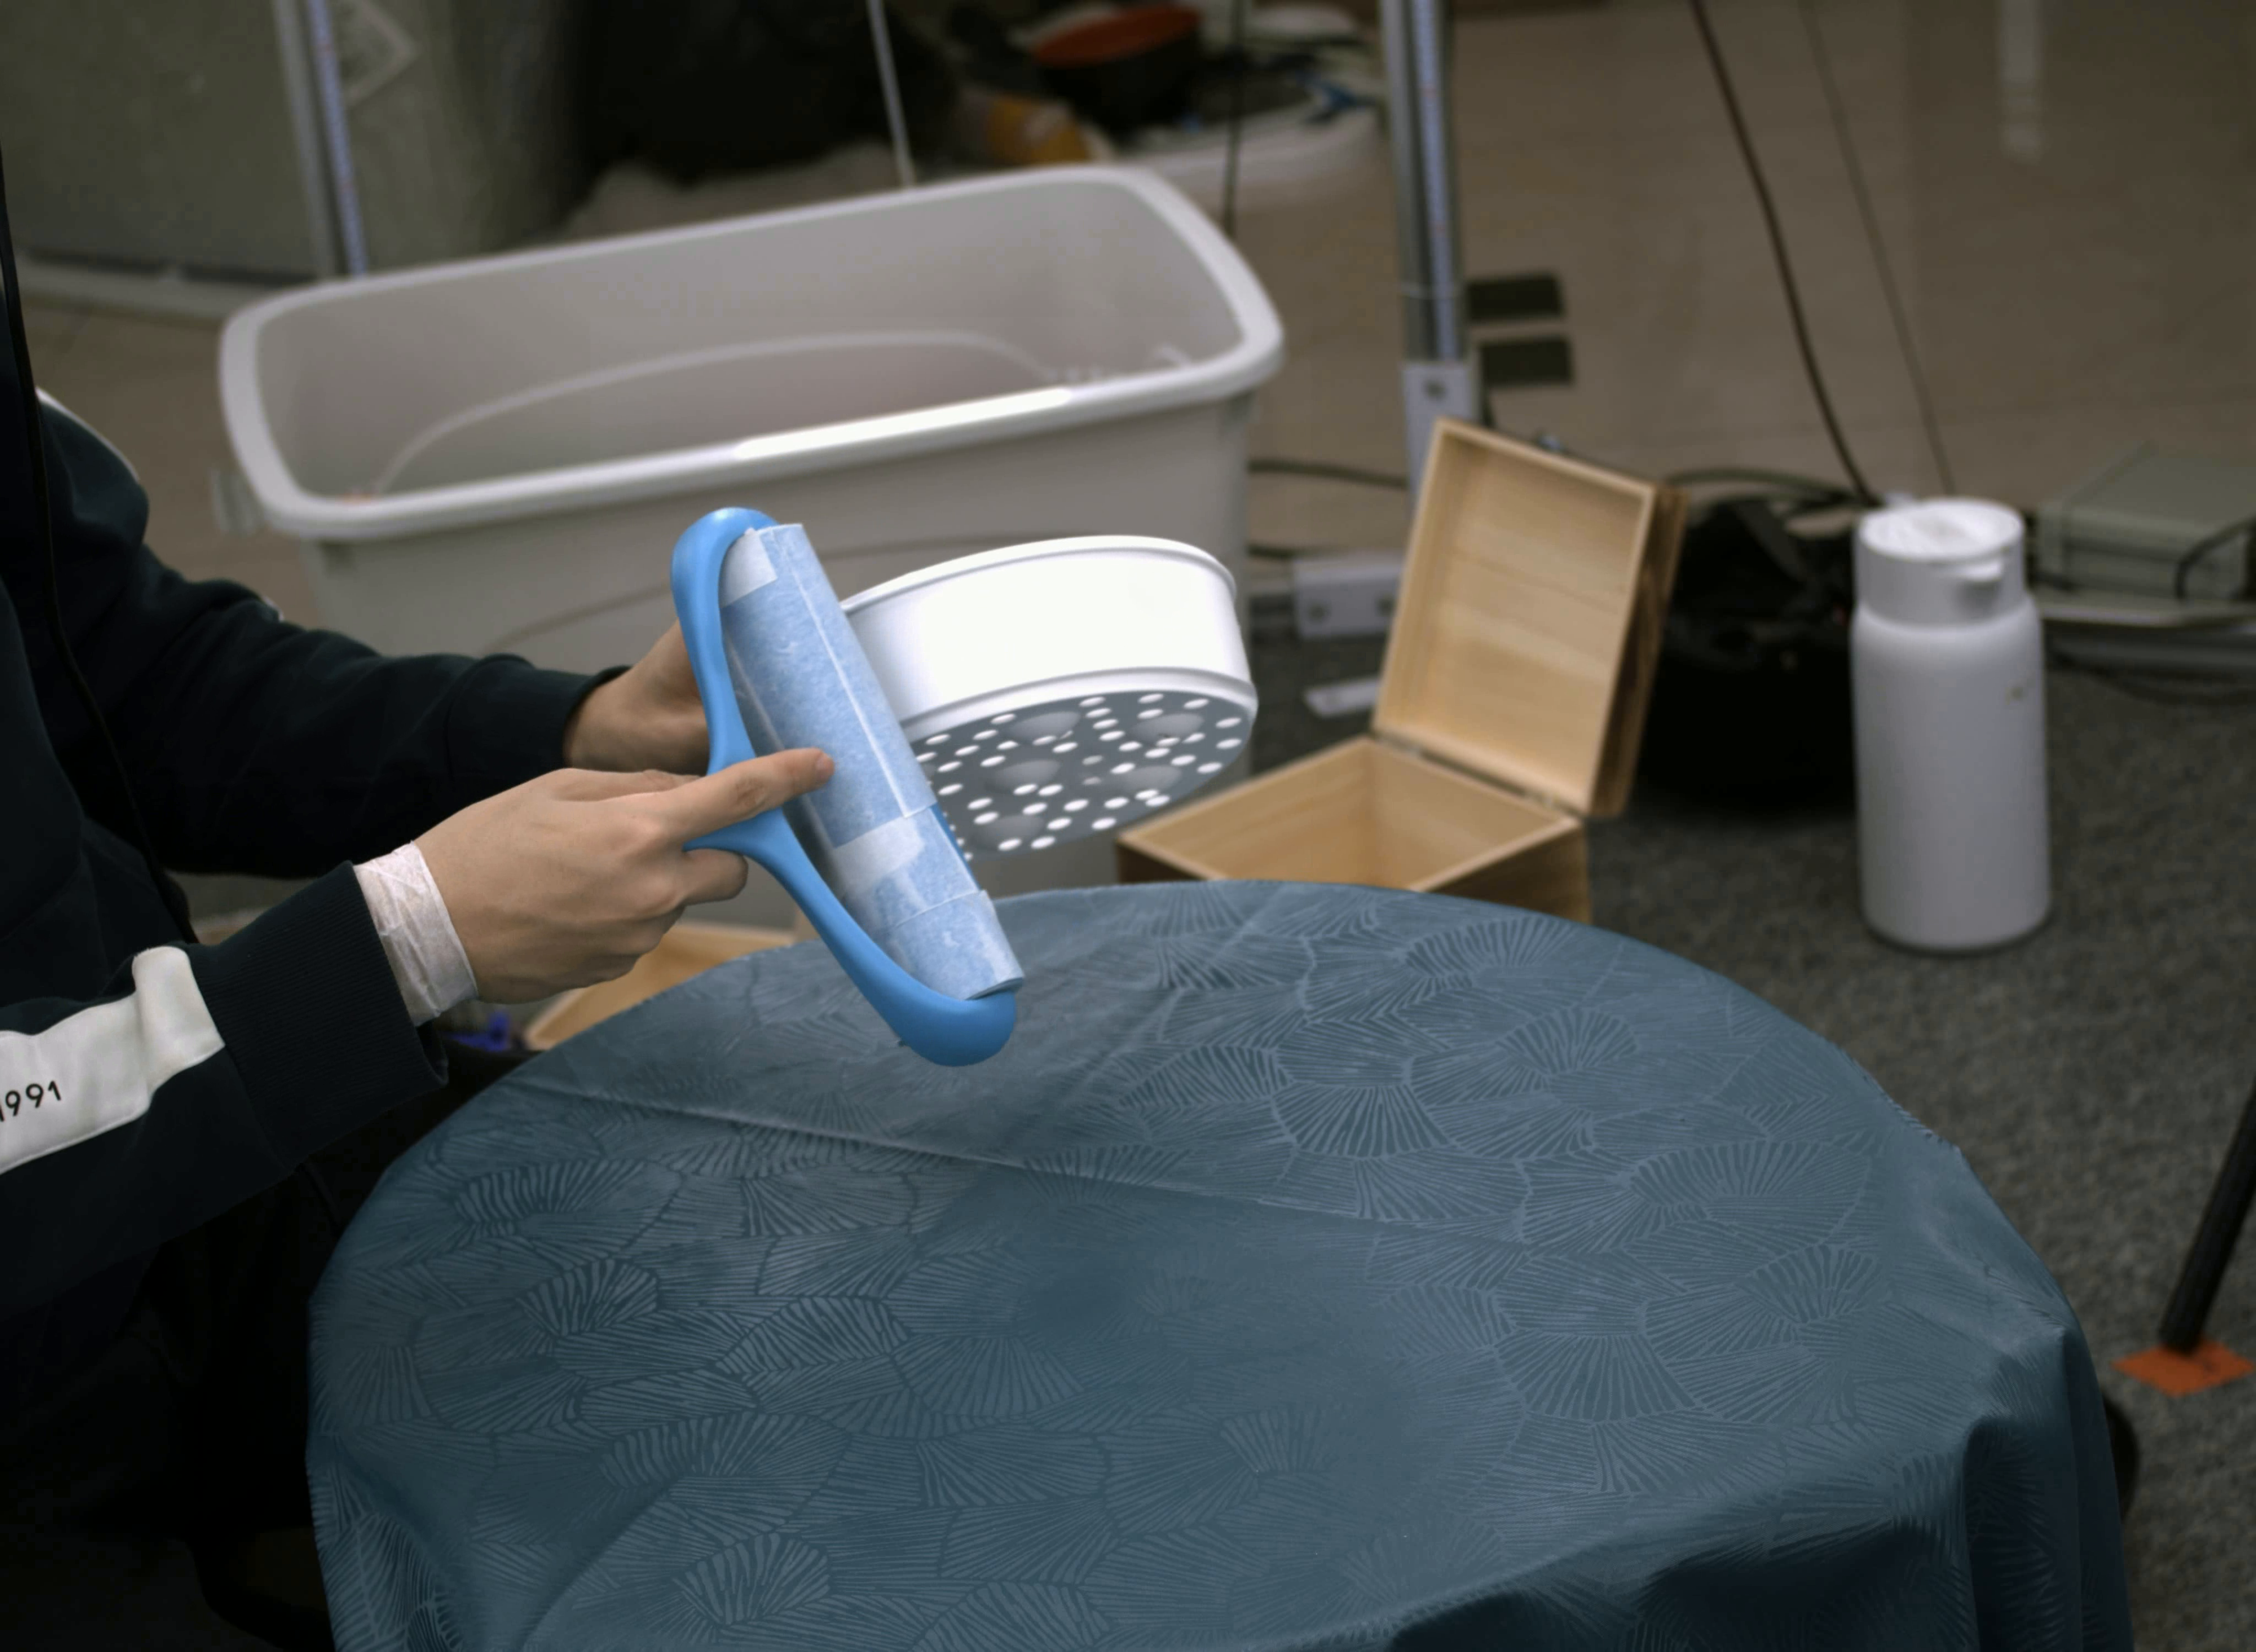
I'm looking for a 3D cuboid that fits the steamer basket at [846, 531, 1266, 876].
[{"bbox_3d":[-0.044,-0.042,2.216,0.230,0.068,0.204,-2,-23,-40],"label":"steamer basket"}]

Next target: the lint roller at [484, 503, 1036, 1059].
[{"bbox_3d":[-0.148,0.005,2.066,0.179,0.228,0.068,-27,-4,-30],"label":"lint roller"}]
